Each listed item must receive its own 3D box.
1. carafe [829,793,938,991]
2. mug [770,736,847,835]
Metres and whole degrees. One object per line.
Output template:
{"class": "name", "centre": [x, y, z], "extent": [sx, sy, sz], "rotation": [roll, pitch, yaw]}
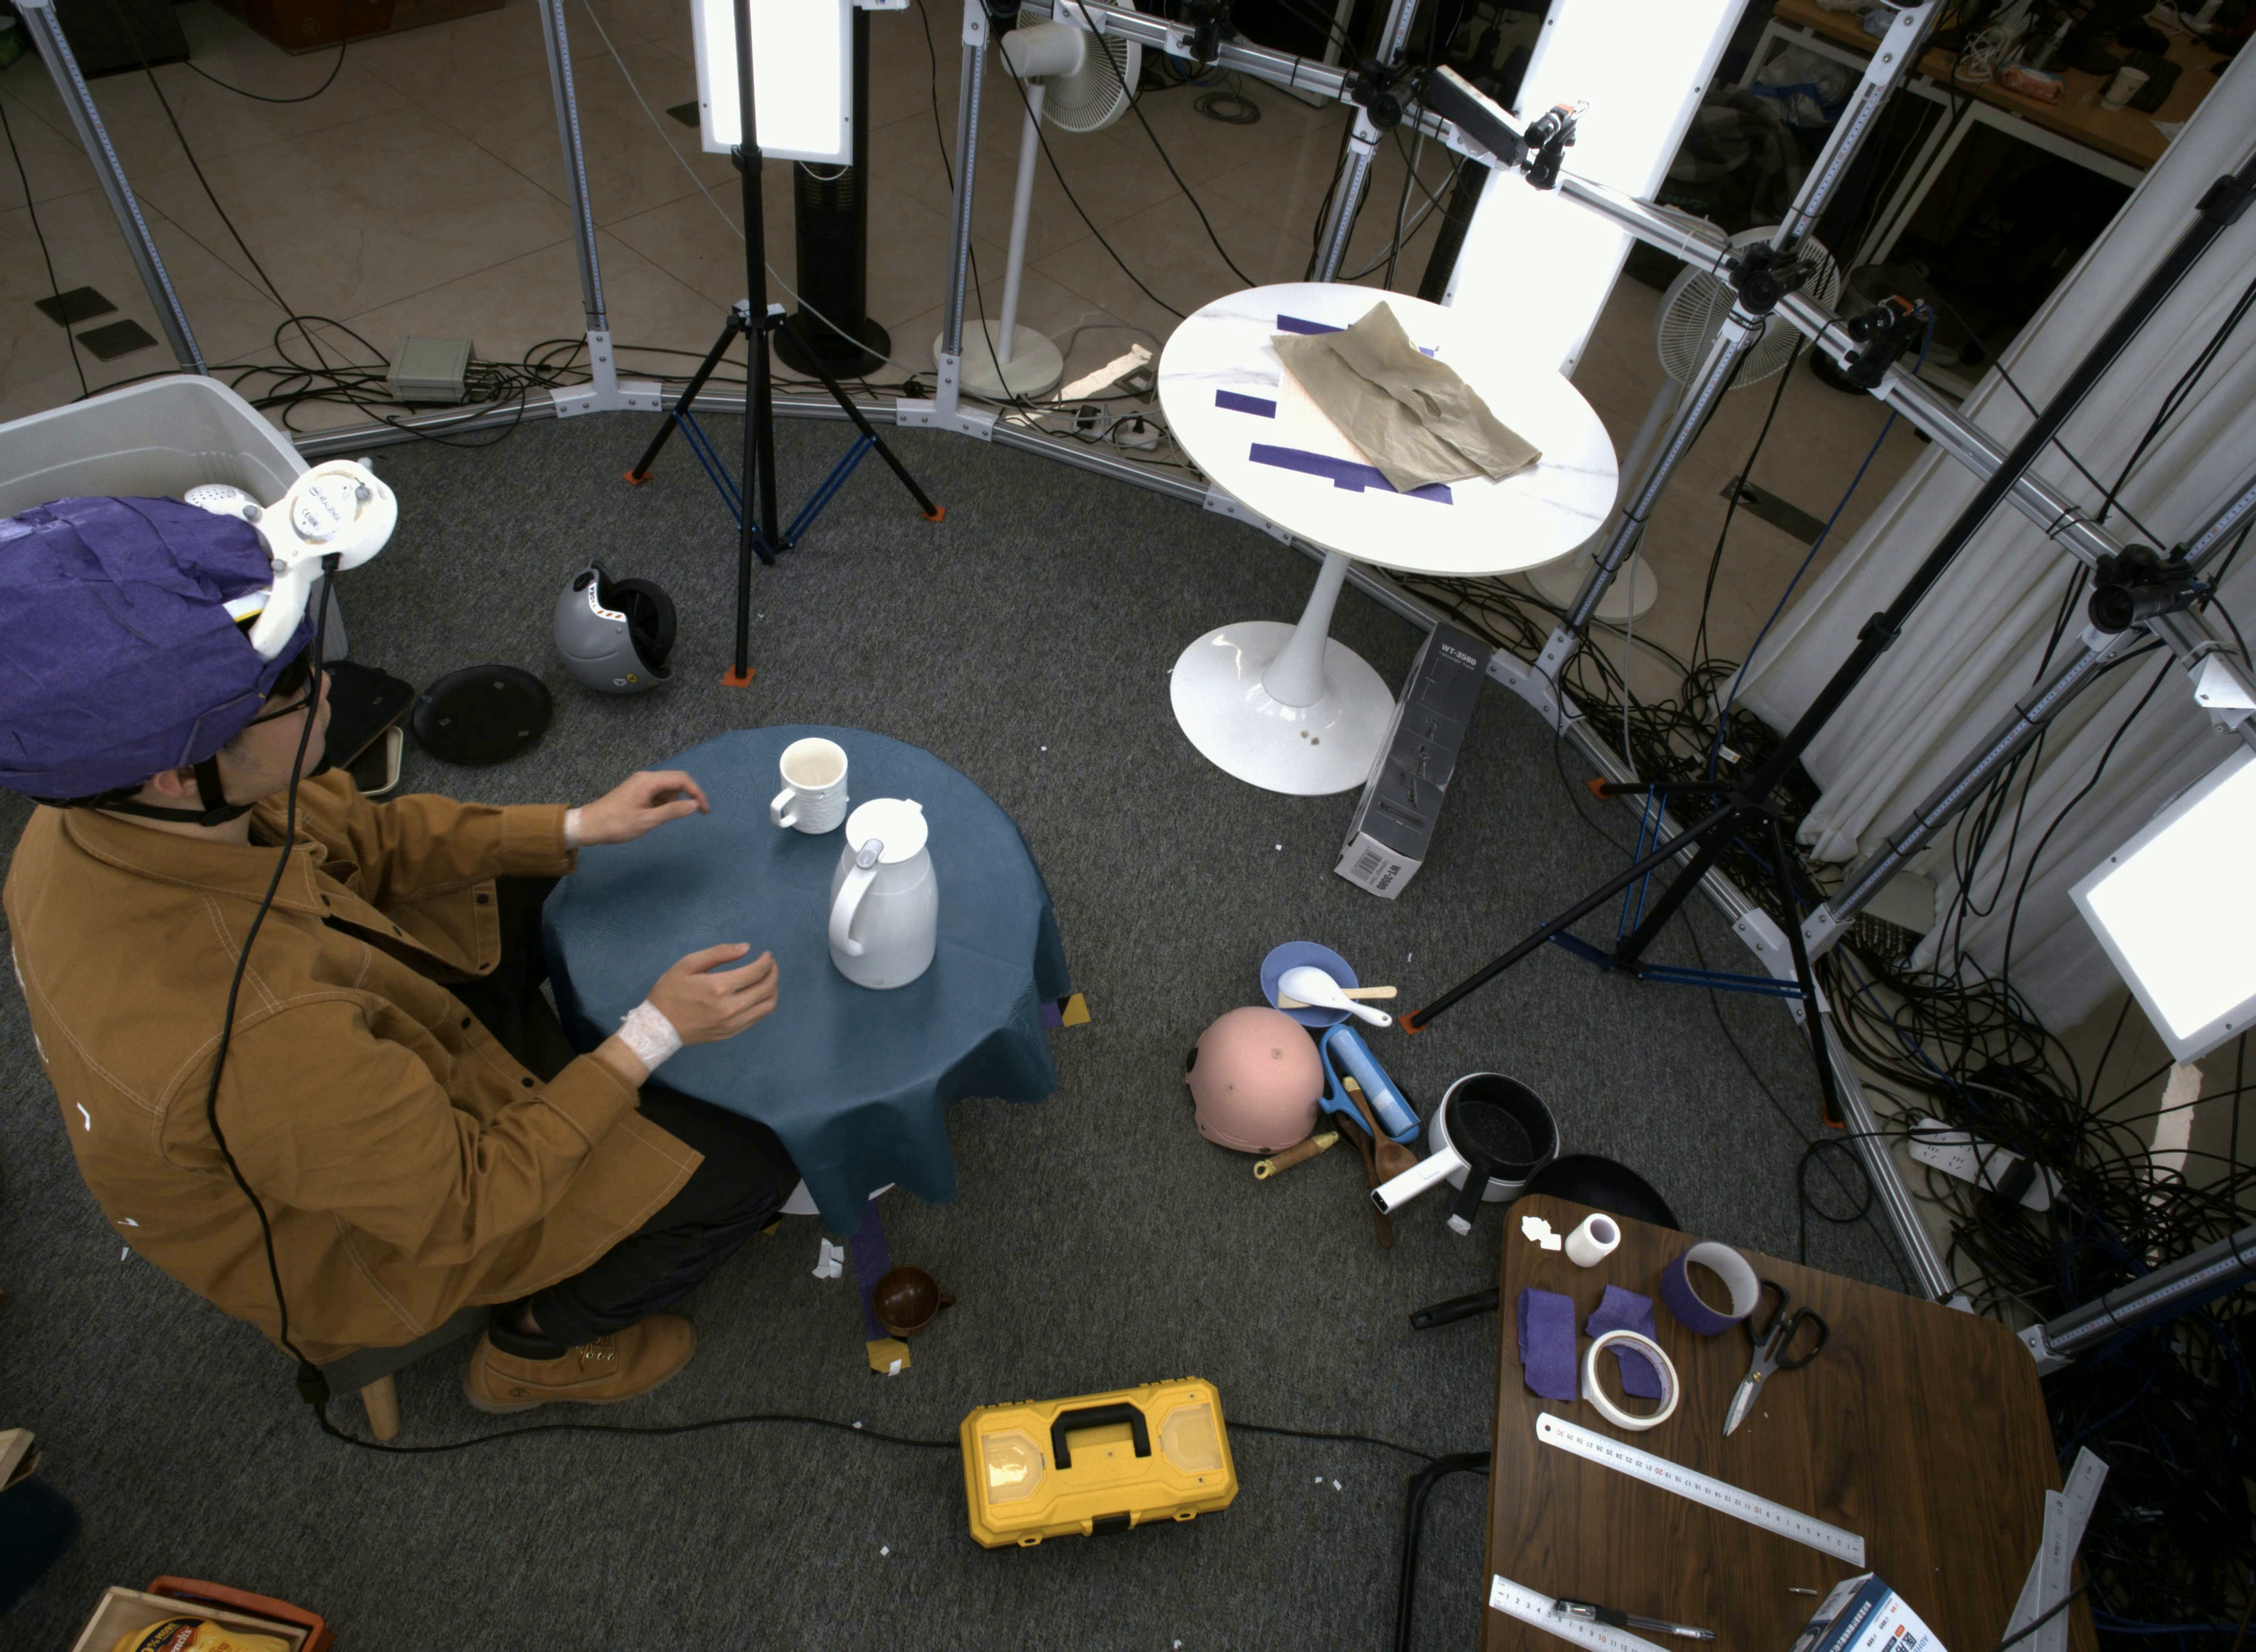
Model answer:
{"class": "carafe", "centre": [-0.296, 0.085, 1.531], "extent": [0.130, 0.254, 0.166], "rotation": [24, 52, 7]}
{"class": "mug", "centre": [-0.420, -0.043, 1.687], "extent": [0.083, 0.104, 0.118], "rotation": [30, 52, 12]}
